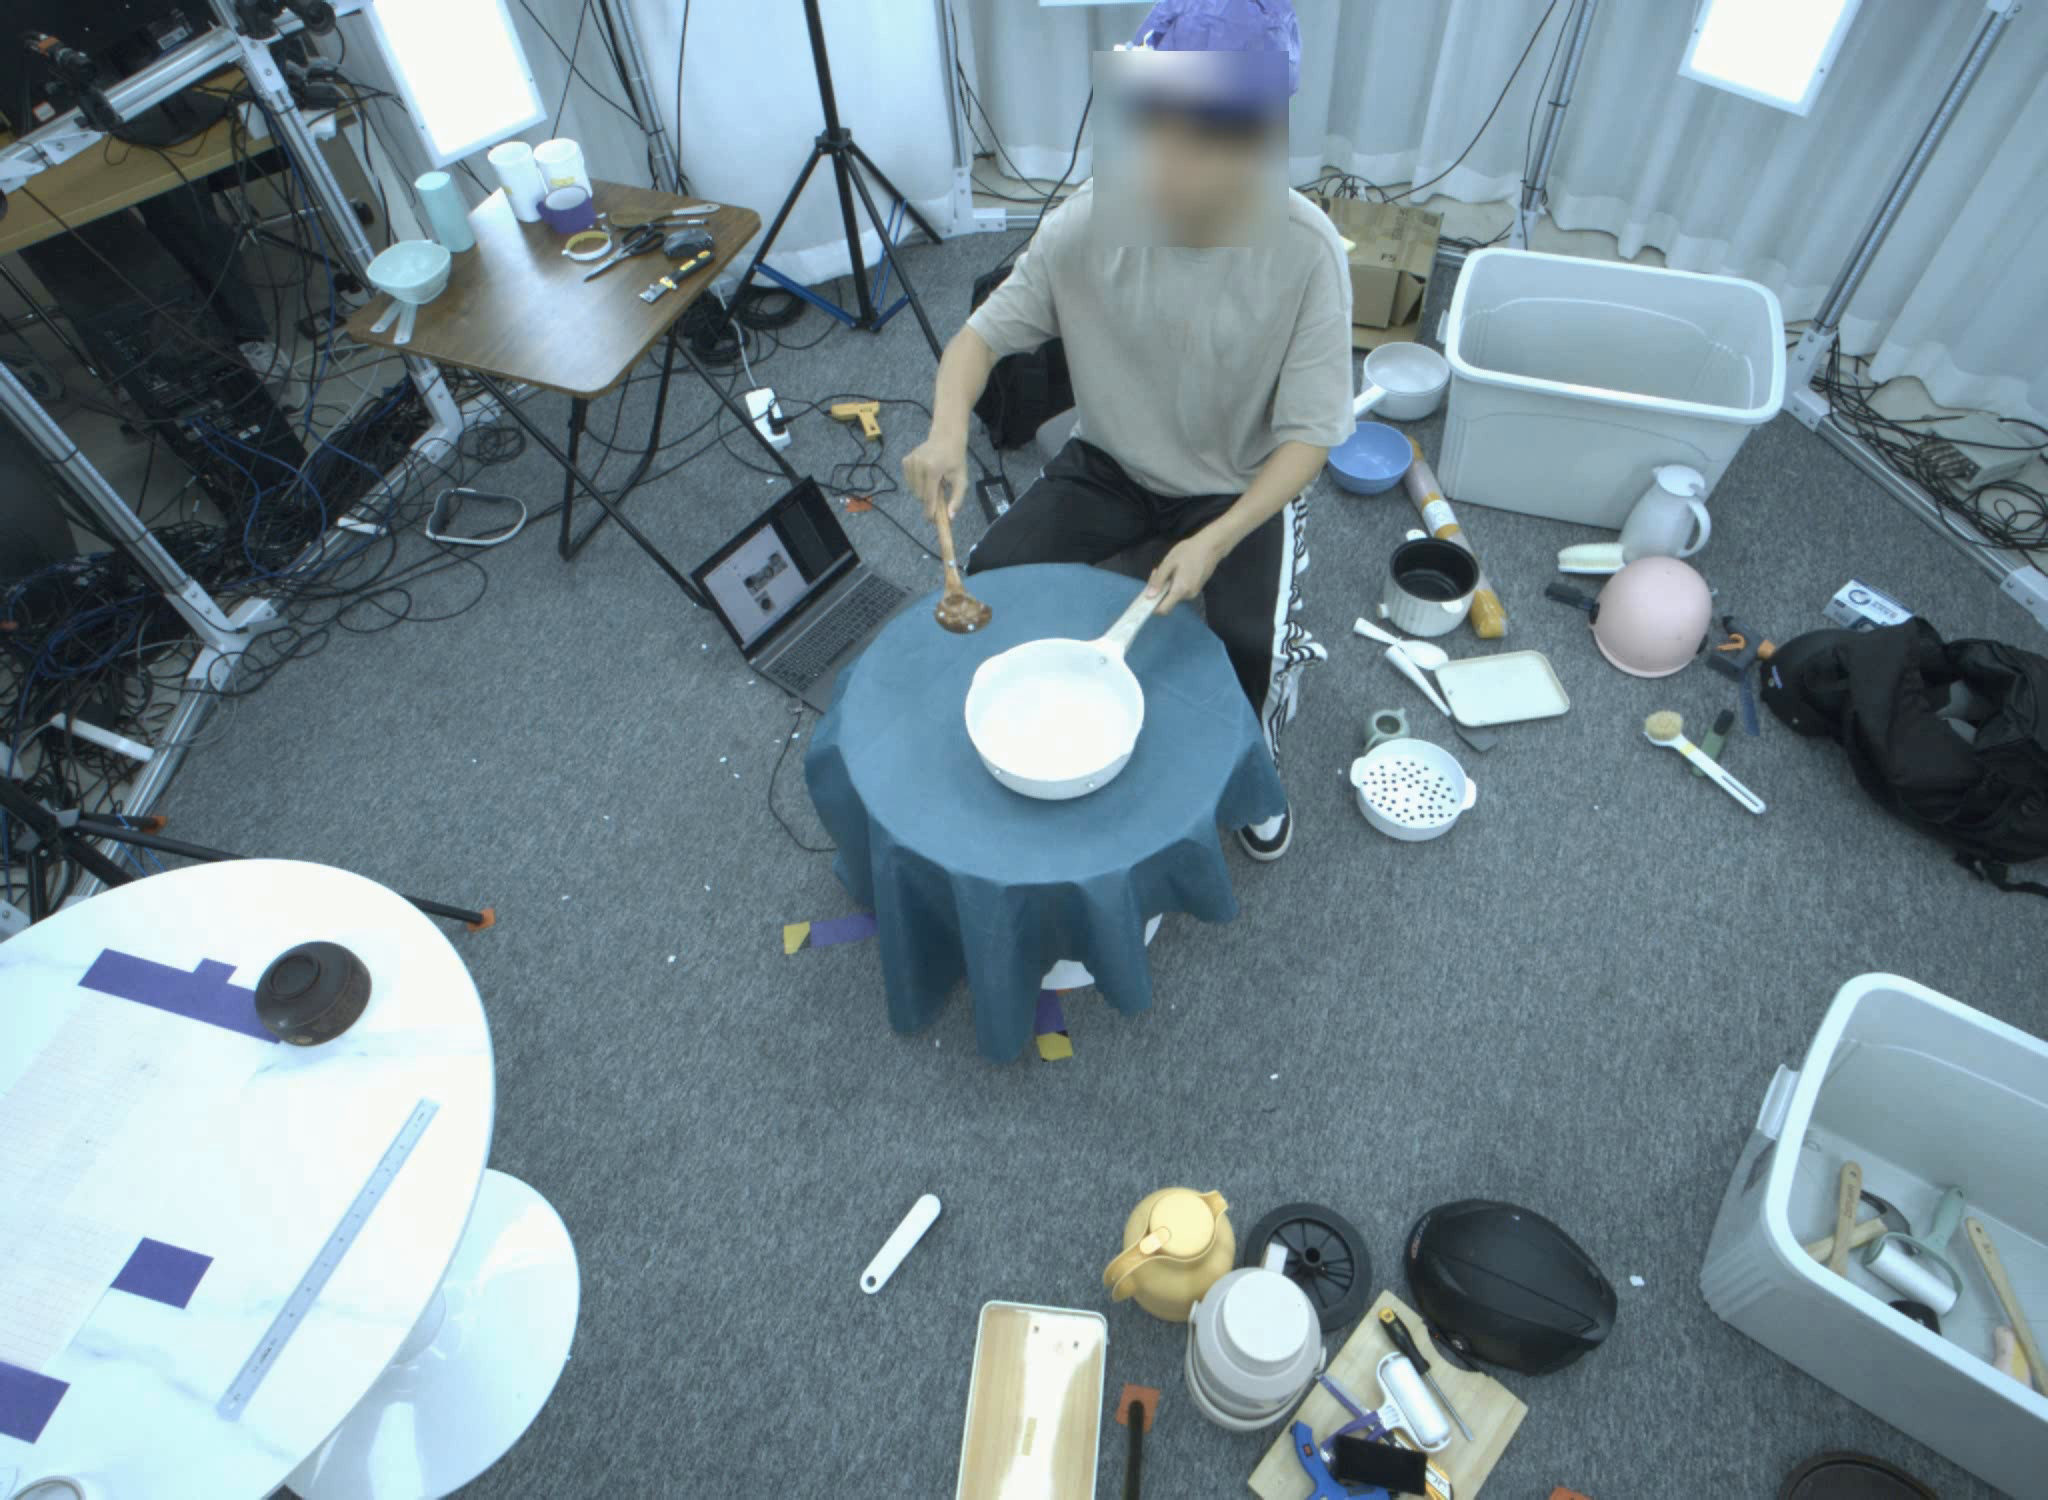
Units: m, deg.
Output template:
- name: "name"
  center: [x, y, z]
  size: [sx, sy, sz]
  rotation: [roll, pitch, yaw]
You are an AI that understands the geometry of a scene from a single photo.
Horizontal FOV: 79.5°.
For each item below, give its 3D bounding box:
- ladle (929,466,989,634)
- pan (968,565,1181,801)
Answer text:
- name: "ladle"
  center: [-0.106, -0.289, 1.716]
  size: [0.083, 0.076, 0.272]
  rotation: [-5, 79, -20]
- name: "pan"
  center: [0.104, -0.102, 1.791]
  size: [0.259, 0.103, 0.437]
  rotation: [30, 61, 23]
